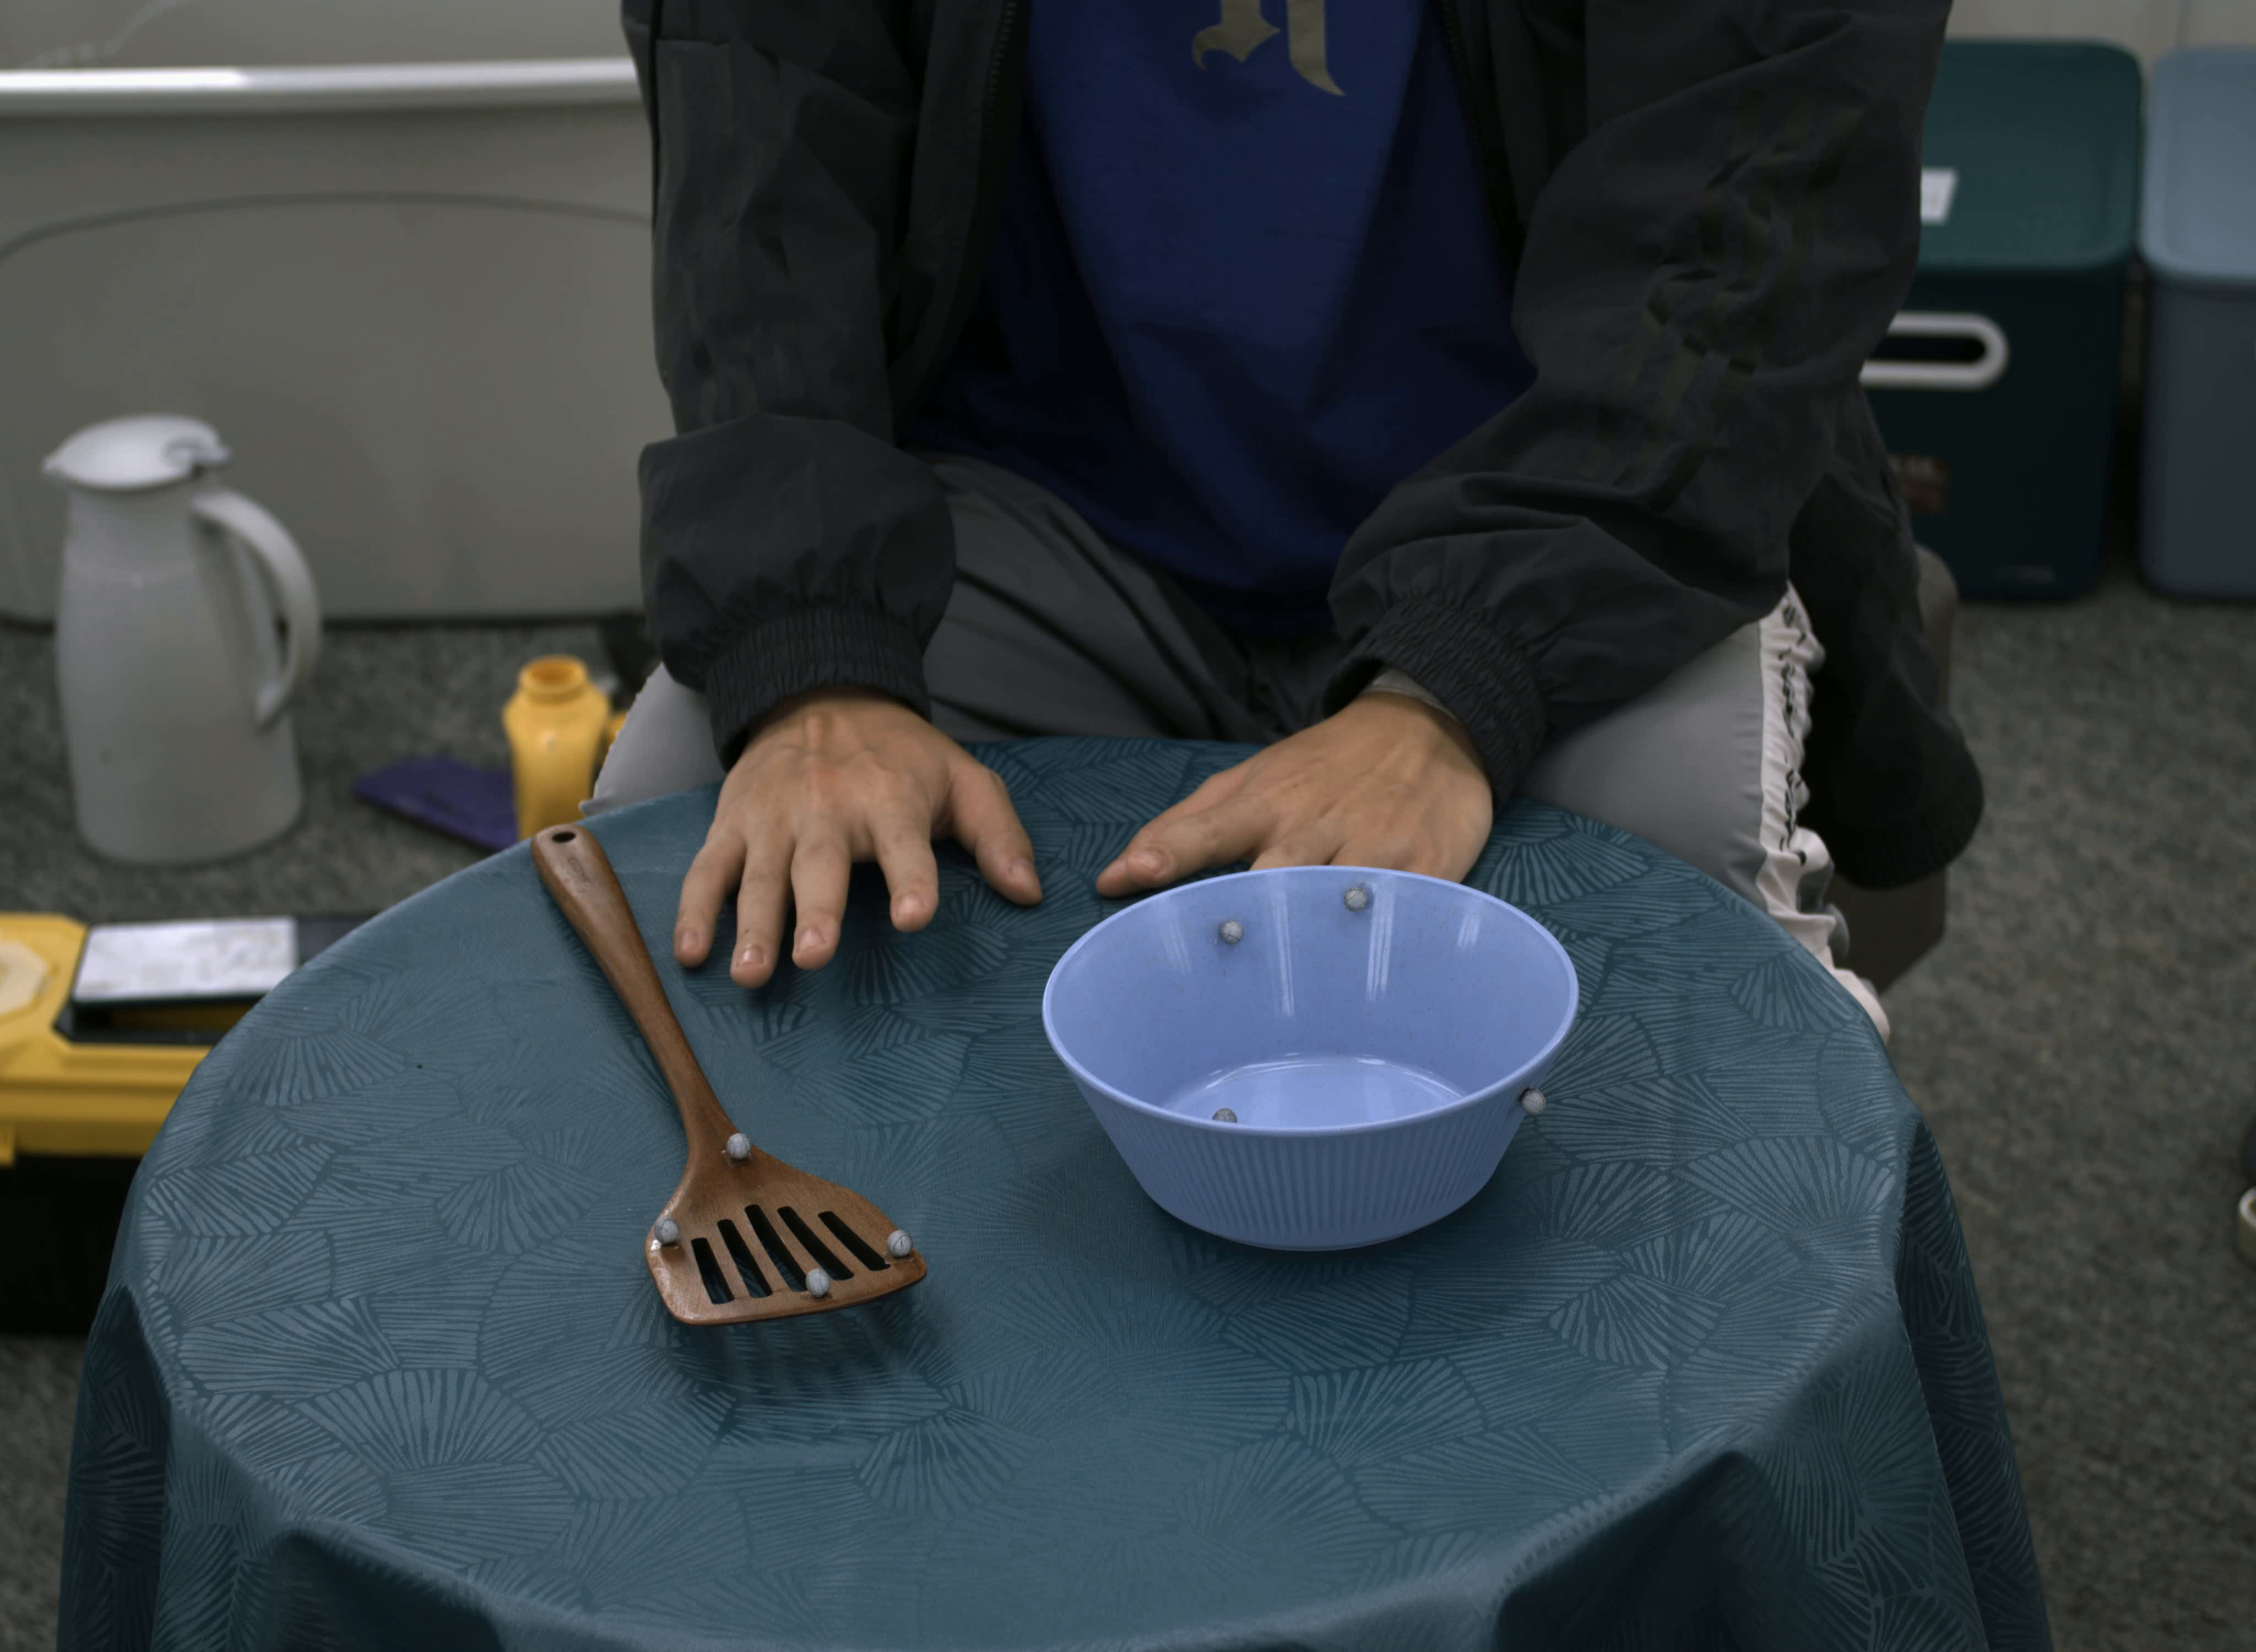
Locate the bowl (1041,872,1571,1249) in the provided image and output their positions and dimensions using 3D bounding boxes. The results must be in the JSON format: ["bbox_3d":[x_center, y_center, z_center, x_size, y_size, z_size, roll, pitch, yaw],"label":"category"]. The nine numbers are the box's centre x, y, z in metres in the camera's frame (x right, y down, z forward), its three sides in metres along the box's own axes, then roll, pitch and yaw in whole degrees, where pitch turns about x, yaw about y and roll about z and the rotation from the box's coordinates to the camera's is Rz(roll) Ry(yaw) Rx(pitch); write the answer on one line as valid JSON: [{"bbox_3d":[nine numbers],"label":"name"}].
[{"bbox_3d":[0.059,0.083,1.853,0.175,0.069,0.178,-2,26,1],"label":"bowl"}]

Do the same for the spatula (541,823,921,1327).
[{"bbox_3d":[-0.155,0.083,1.930,0.085,0.024,0.390,-9,27,-14],"label":"spatula"}]
